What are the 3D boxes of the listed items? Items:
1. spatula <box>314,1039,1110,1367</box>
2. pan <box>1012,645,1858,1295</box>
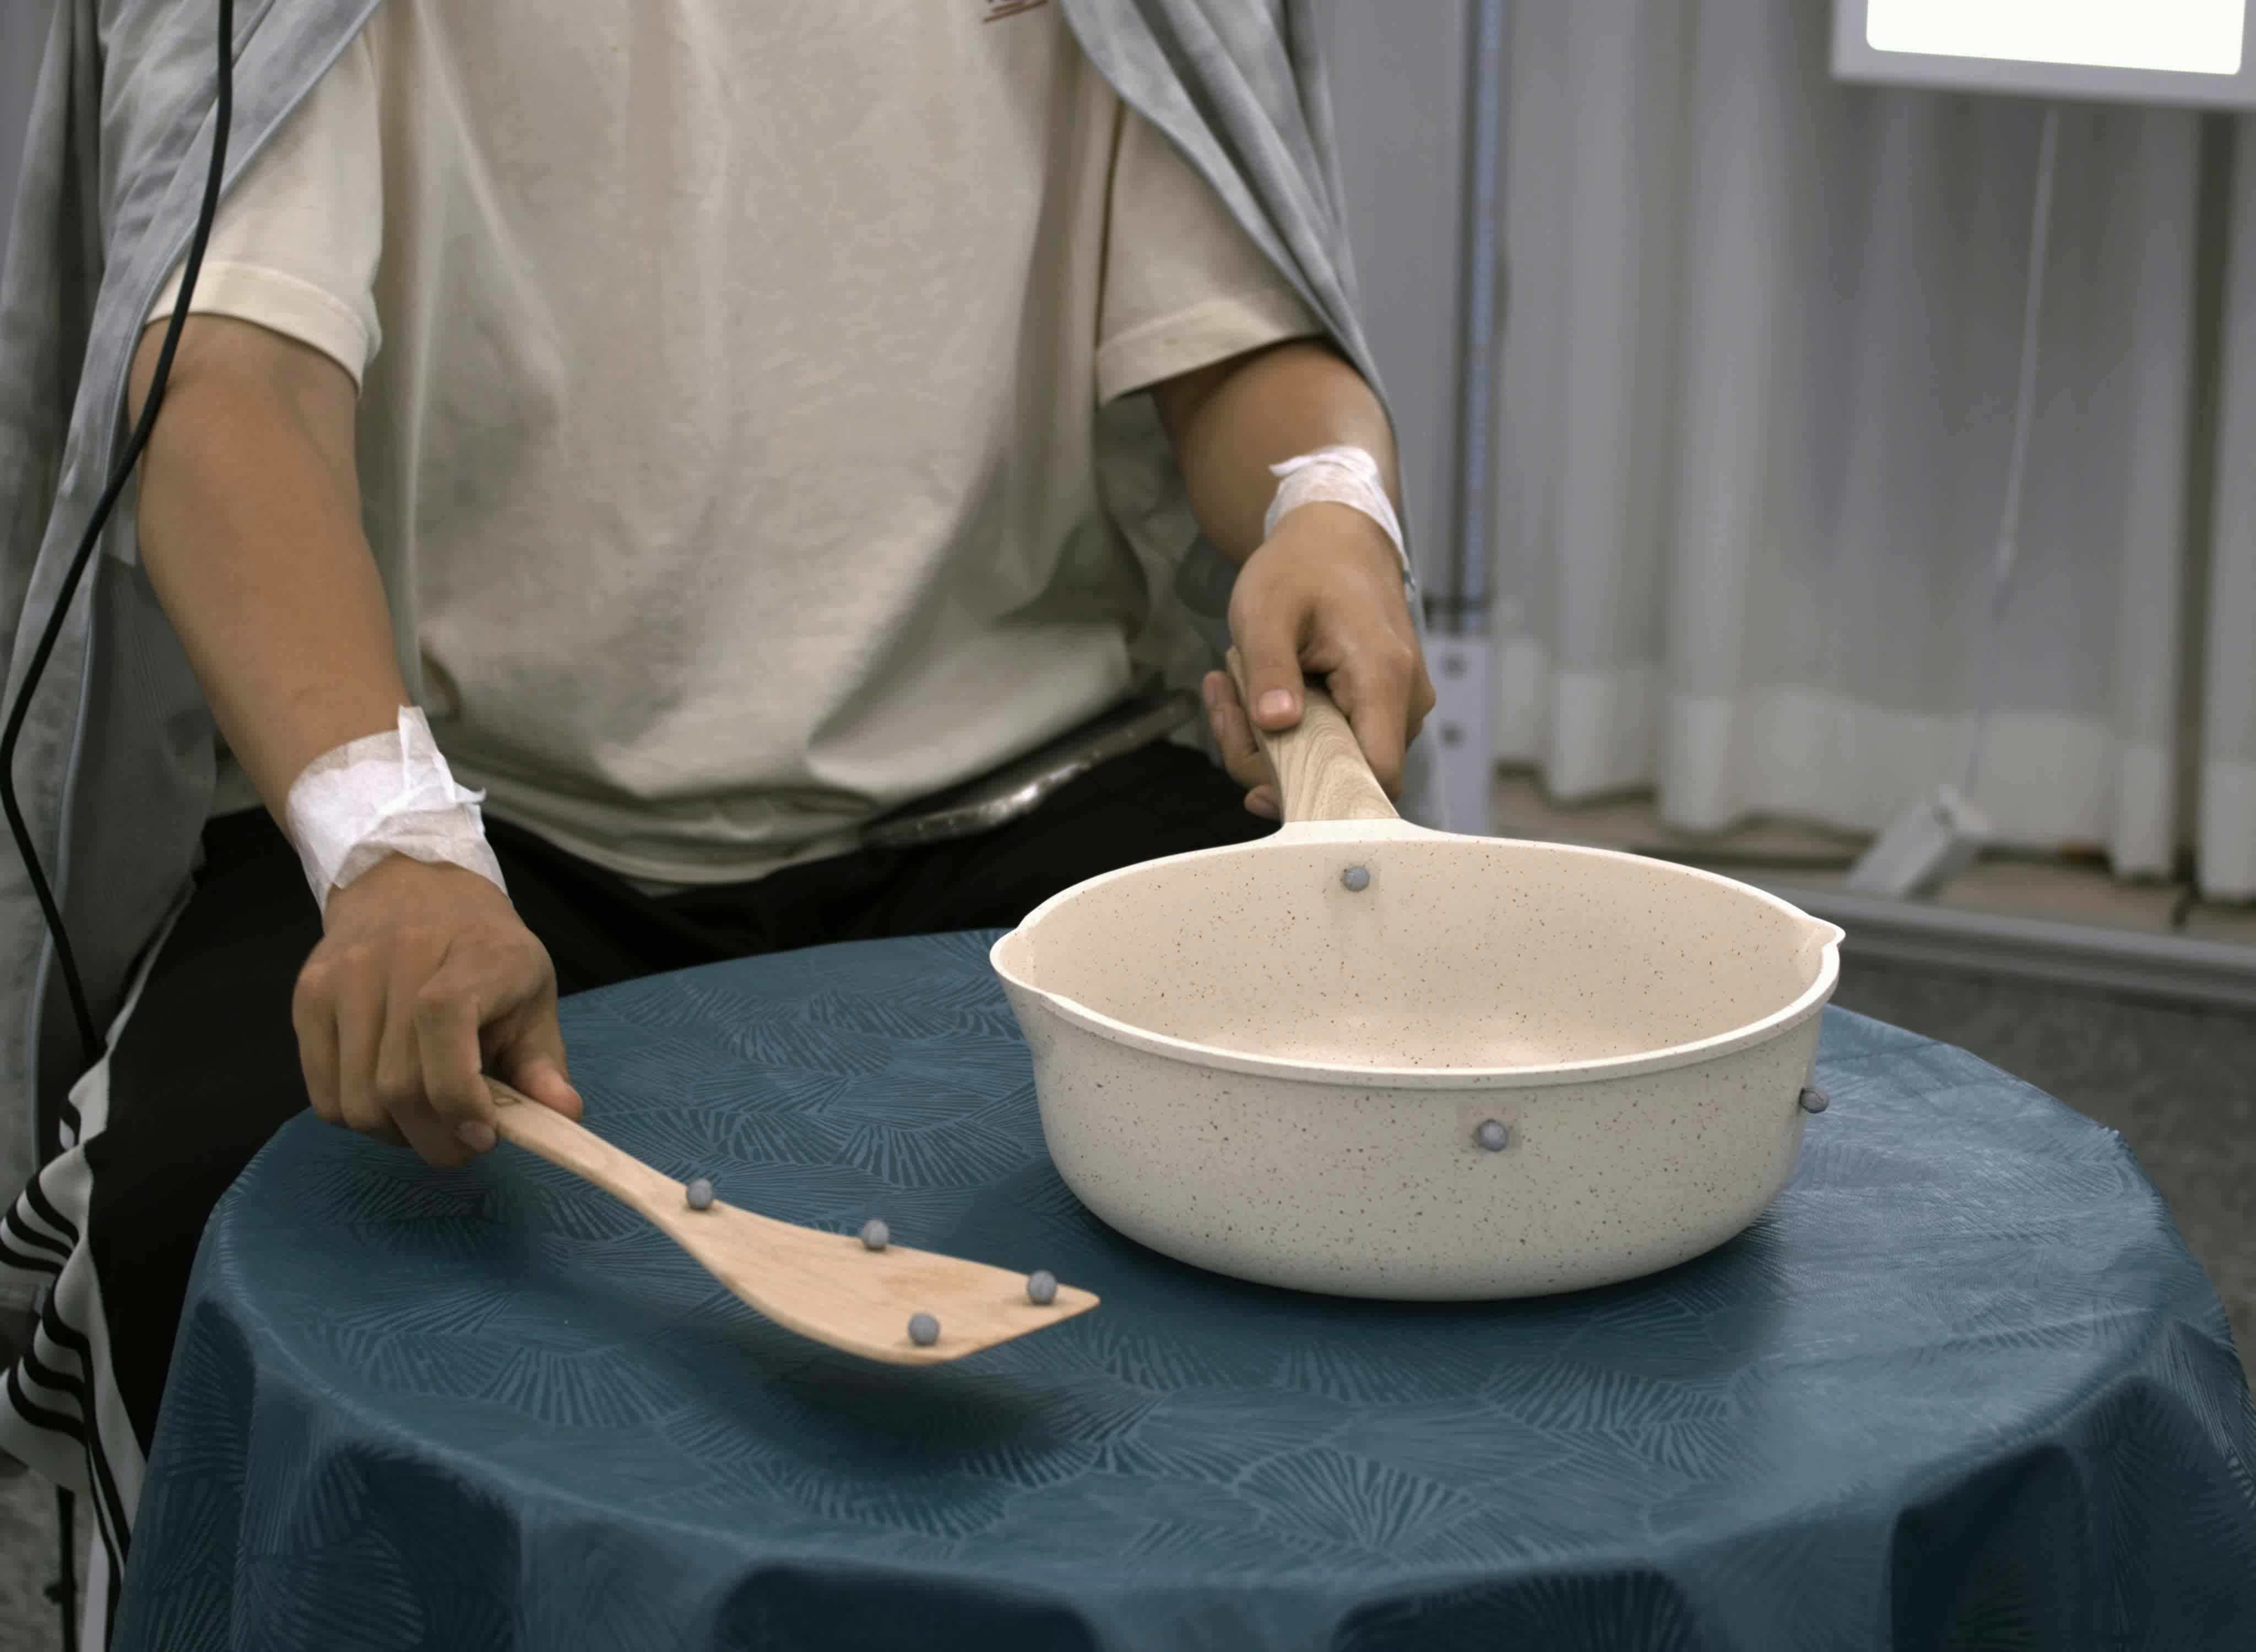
[{"bbox_3d":[-0.133,0.104,1.516,0.080,0.016,0.323,-9,21,-43],"label":"spatula"},{"bbox_3d":[0.082,0.041,1.696,0.263,0.103,0.431,-3,16,-8],"label":"pan"}]
